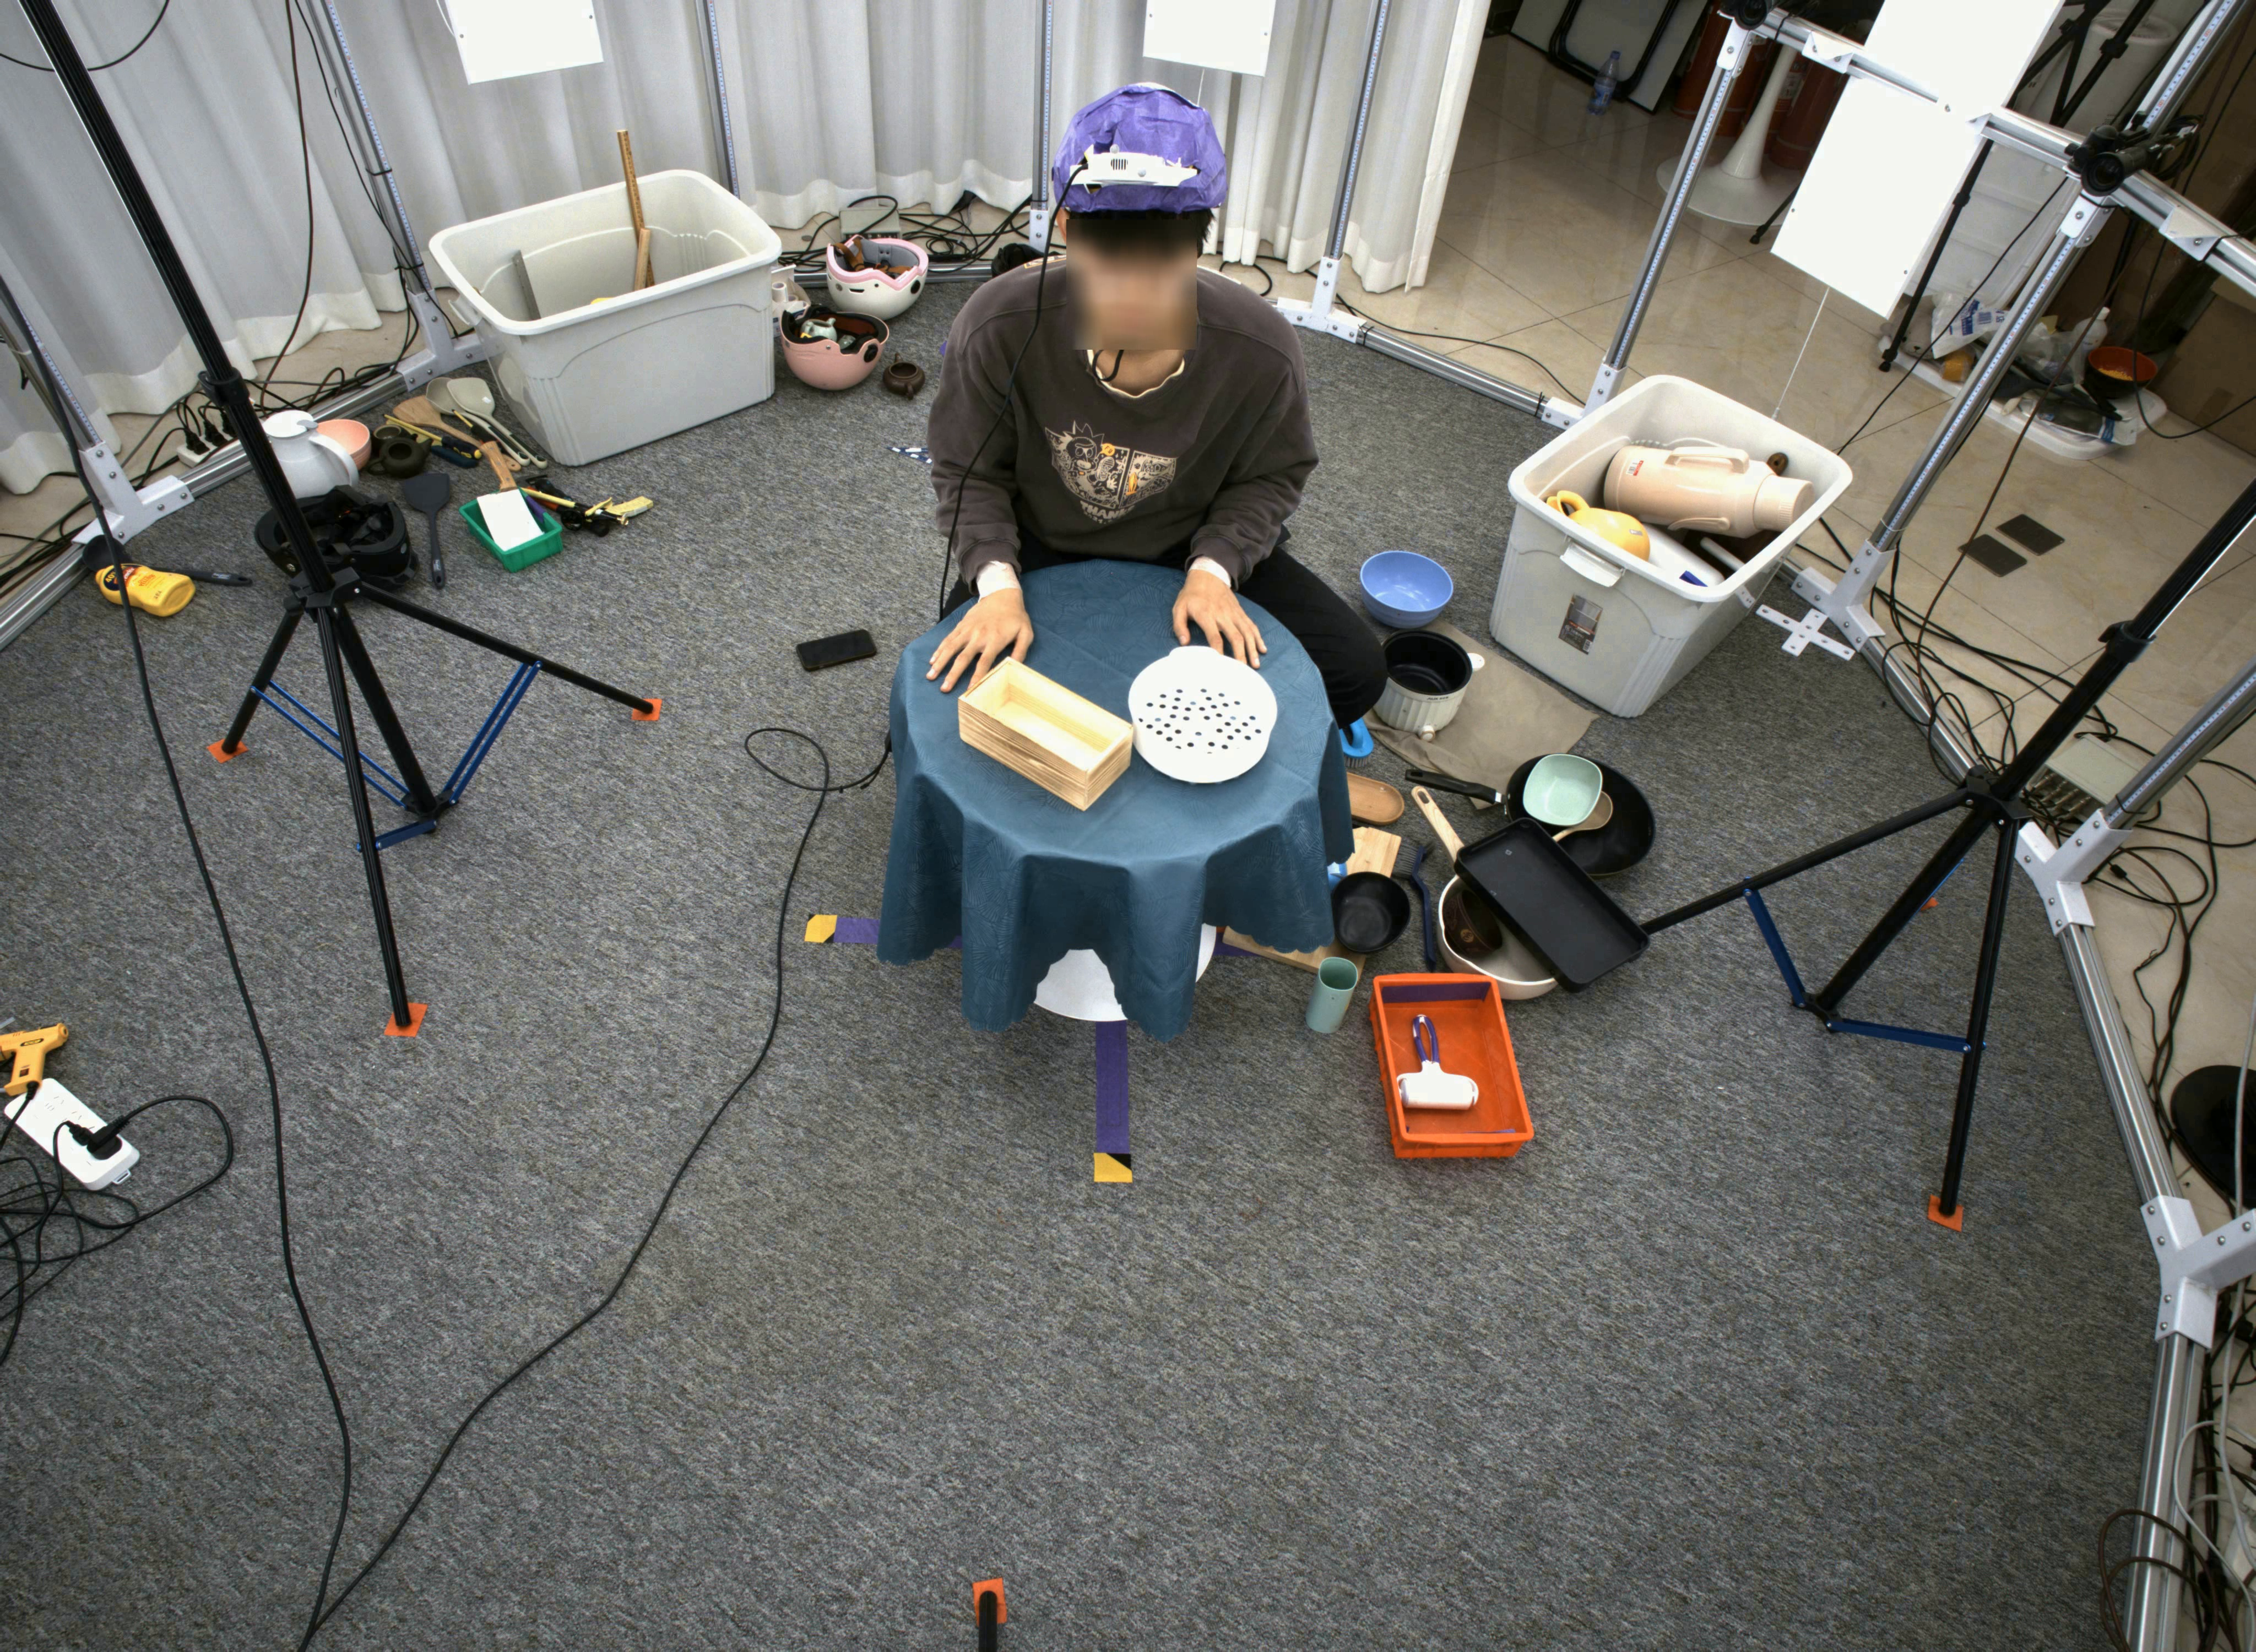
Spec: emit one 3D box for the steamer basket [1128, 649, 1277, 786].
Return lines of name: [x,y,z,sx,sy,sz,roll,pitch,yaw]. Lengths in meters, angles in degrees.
steamer basket: [0.100,-0.144,1.753,0.201,0.067,0.236,-1,48,-5]

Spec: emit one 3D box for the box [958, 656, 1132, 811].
box: [-0.112,-0.126,1.716,0.214,0.078,0.109,30,53,21]
